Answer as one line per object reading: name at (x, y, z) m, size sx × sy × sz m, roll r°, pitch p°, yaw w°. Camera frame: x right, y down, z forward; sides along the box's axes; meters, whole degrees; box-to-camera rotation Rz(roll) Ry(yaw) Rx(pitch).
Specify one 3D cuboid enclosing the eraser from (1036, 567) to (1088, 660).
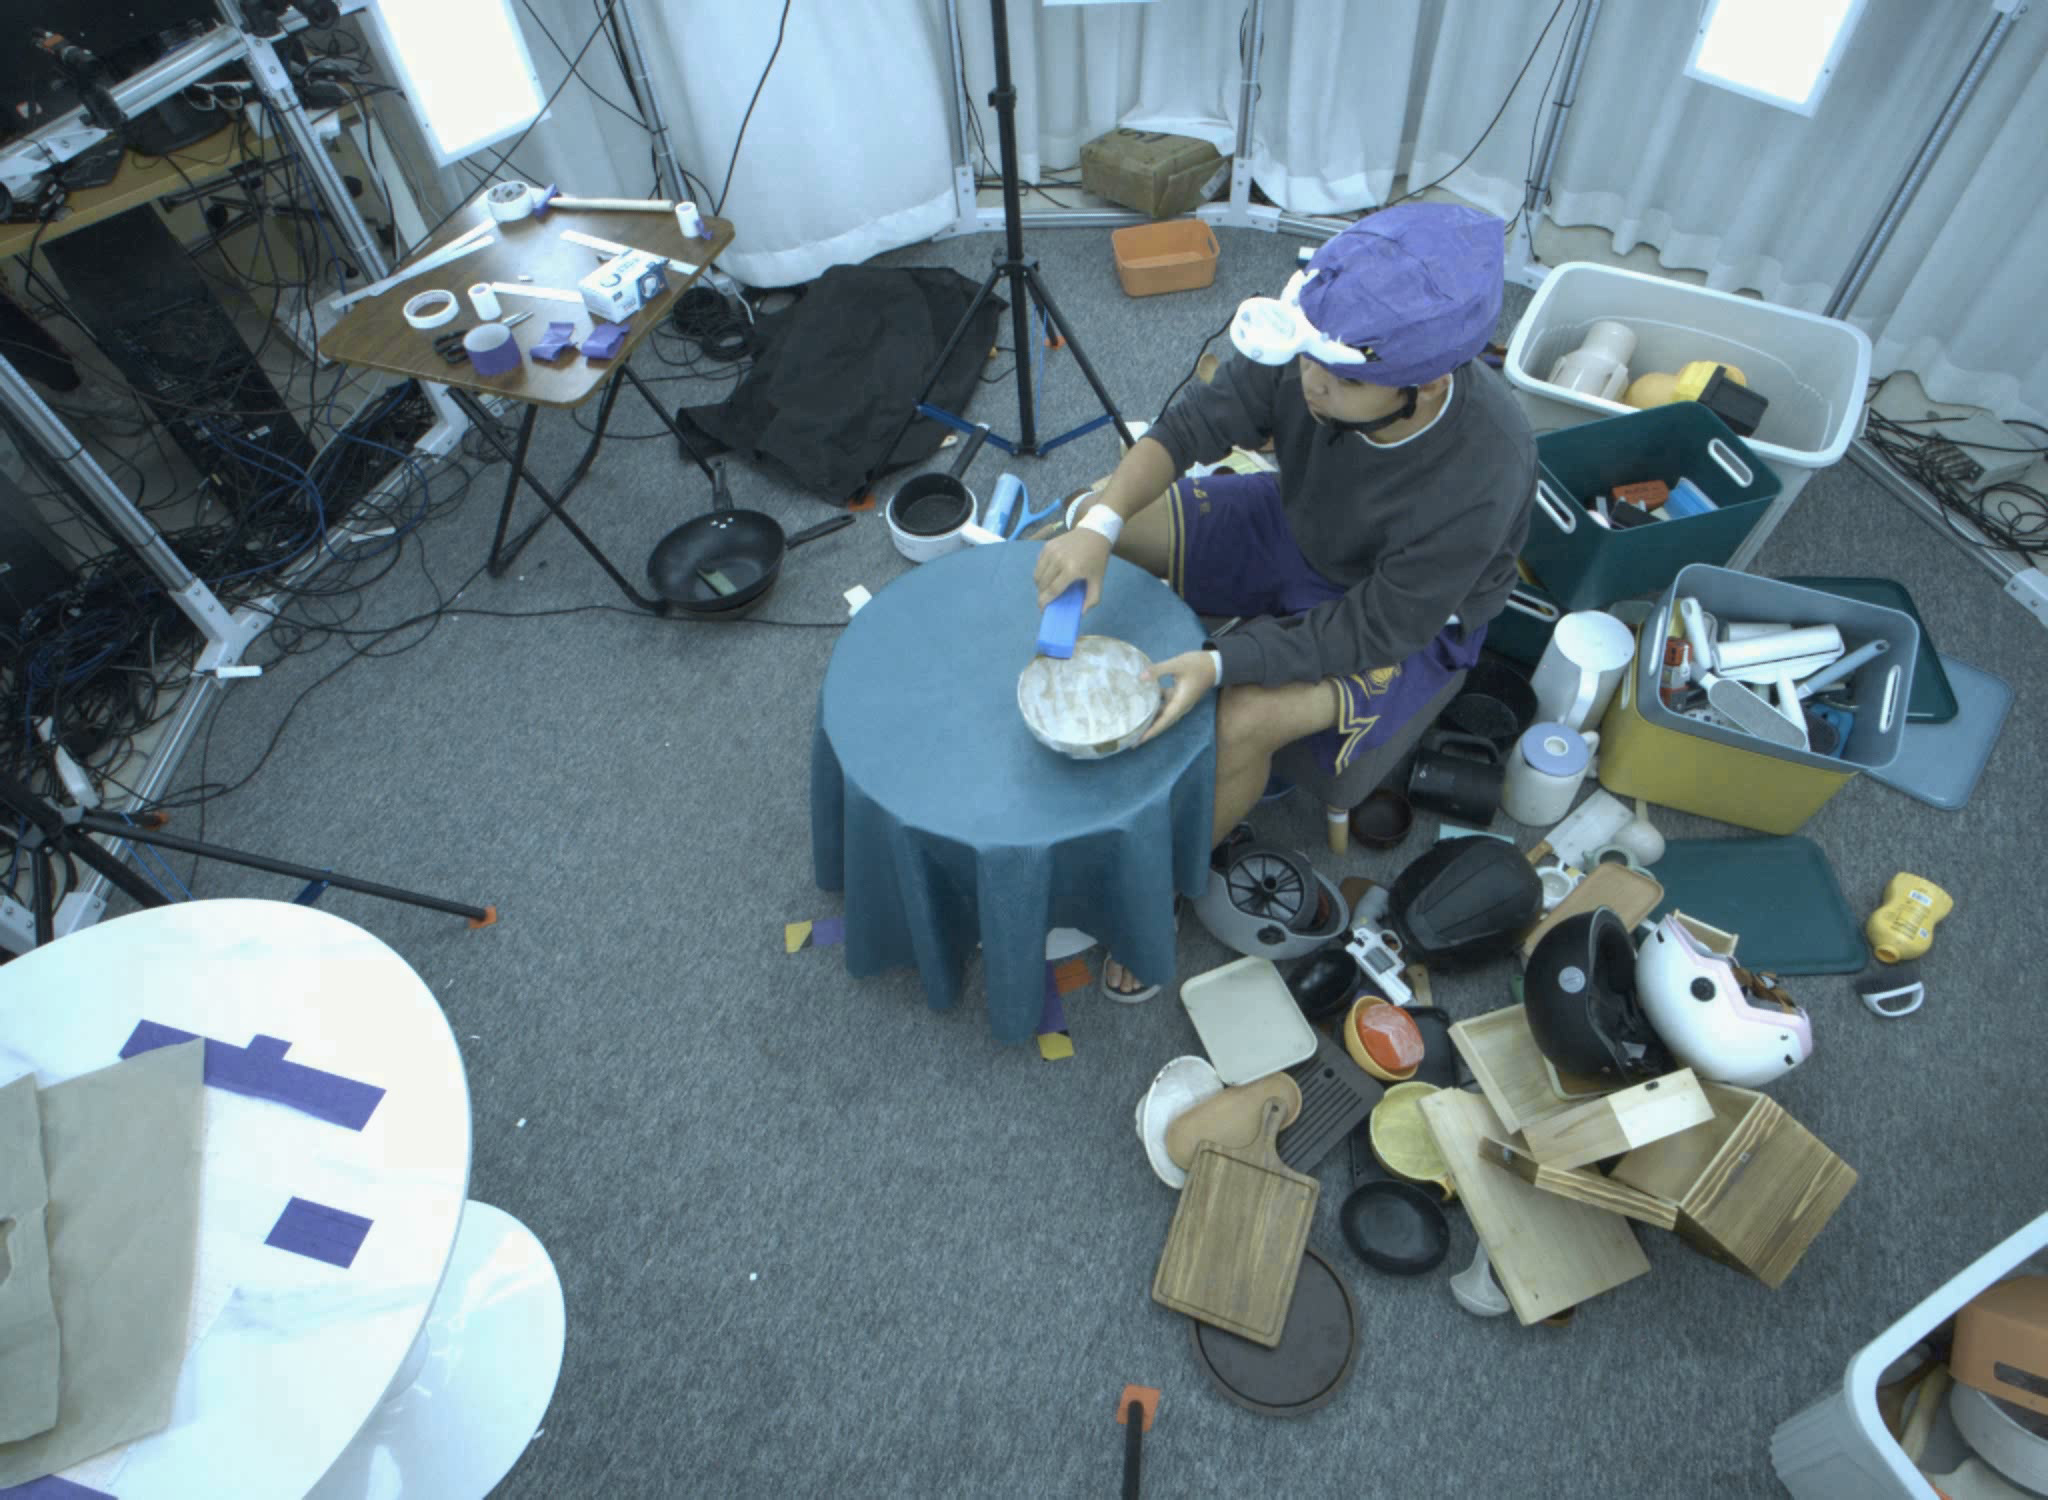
eraser at (0.055, -0.205, 1.795) m, size 0.054 × 0.048 × 0.161 m, roll 10°, pitch 53°, yaw 3°

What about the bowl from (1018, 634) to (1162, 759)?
bowl at (0.099, -0.062, 1.773) m, size 0.214 × 0.095 × 0.212 m, roll -1°, pitch 53°, yaw 3°
